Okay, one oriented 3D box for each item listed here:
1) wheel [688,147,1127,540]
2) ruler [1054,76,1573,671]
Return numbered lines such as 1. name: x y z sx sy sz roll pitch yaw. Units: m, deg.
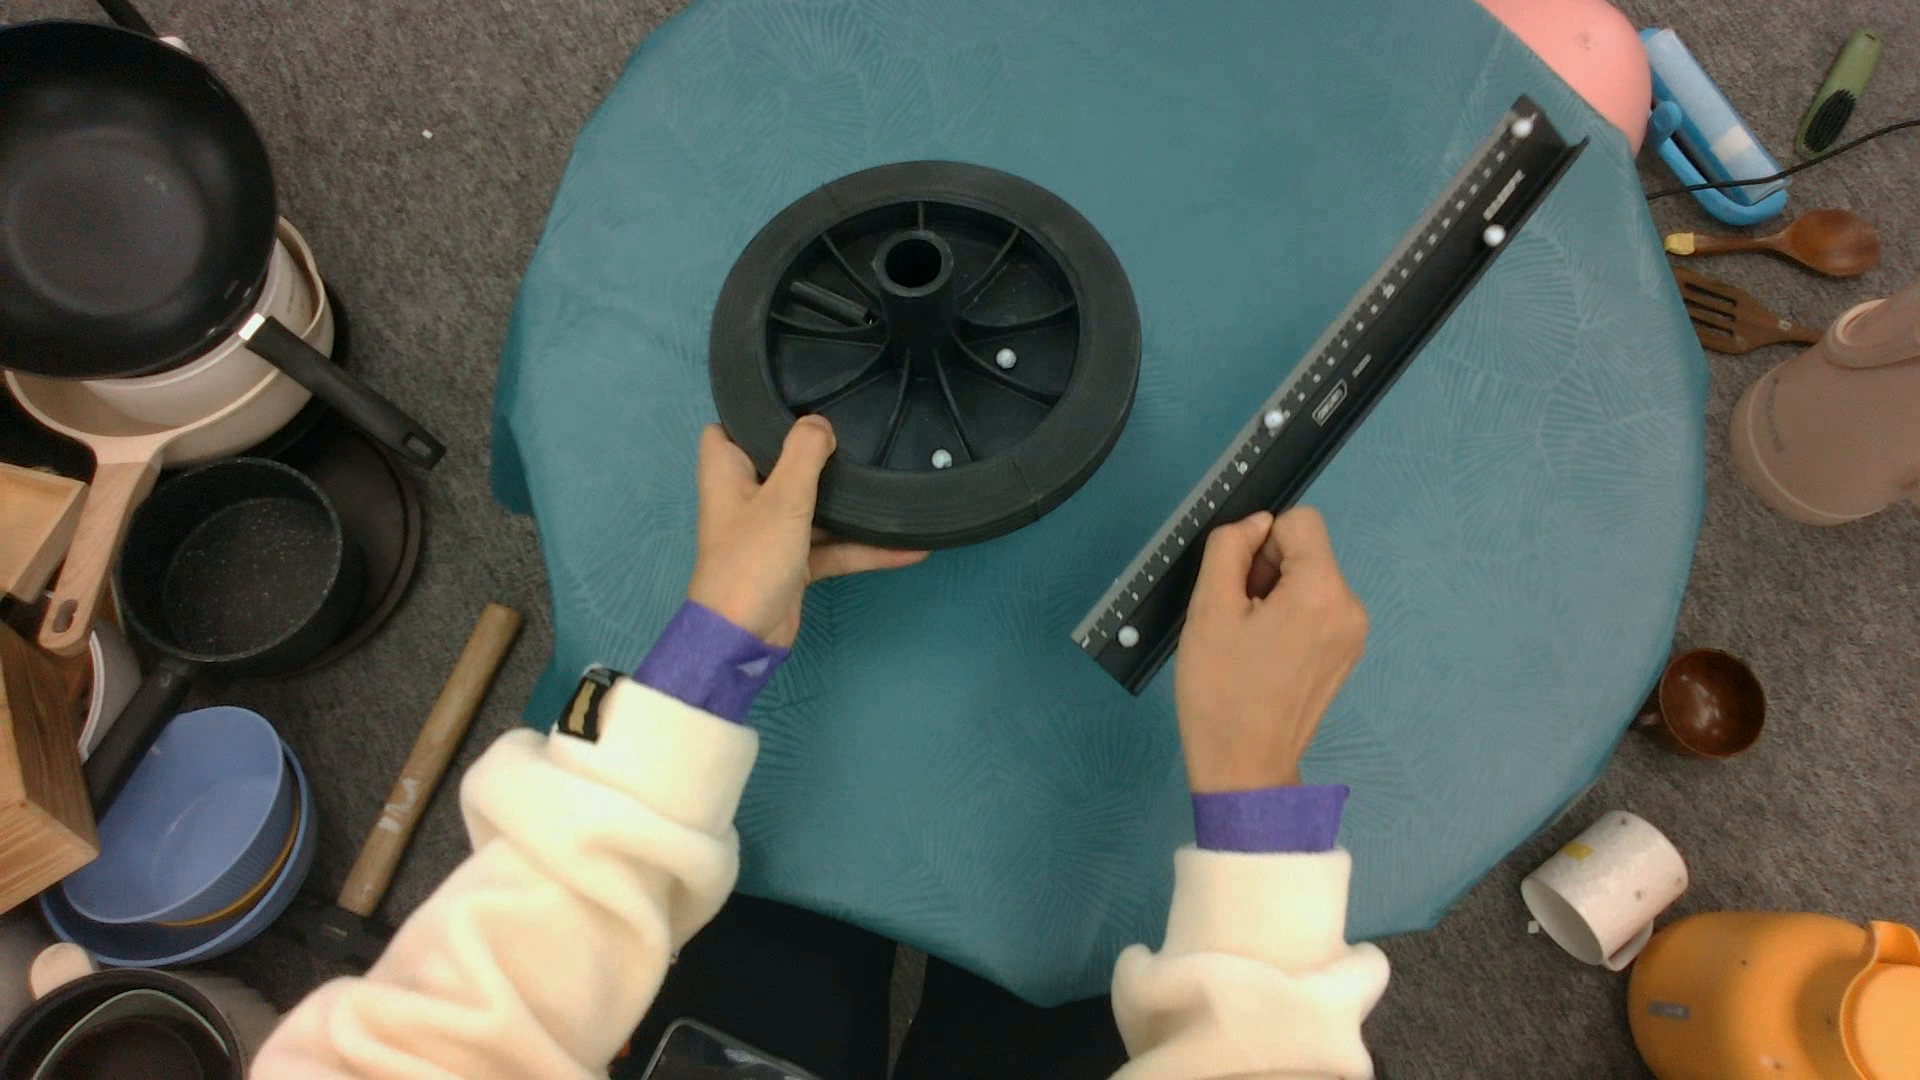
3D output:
1. wheel: -0.024 -0.097 0.577 0.190 0.079 0.188 4 68 4
2. ruler: 0.151 -0.074 0.567 0.039 0.017 0.313 44 80 -14
